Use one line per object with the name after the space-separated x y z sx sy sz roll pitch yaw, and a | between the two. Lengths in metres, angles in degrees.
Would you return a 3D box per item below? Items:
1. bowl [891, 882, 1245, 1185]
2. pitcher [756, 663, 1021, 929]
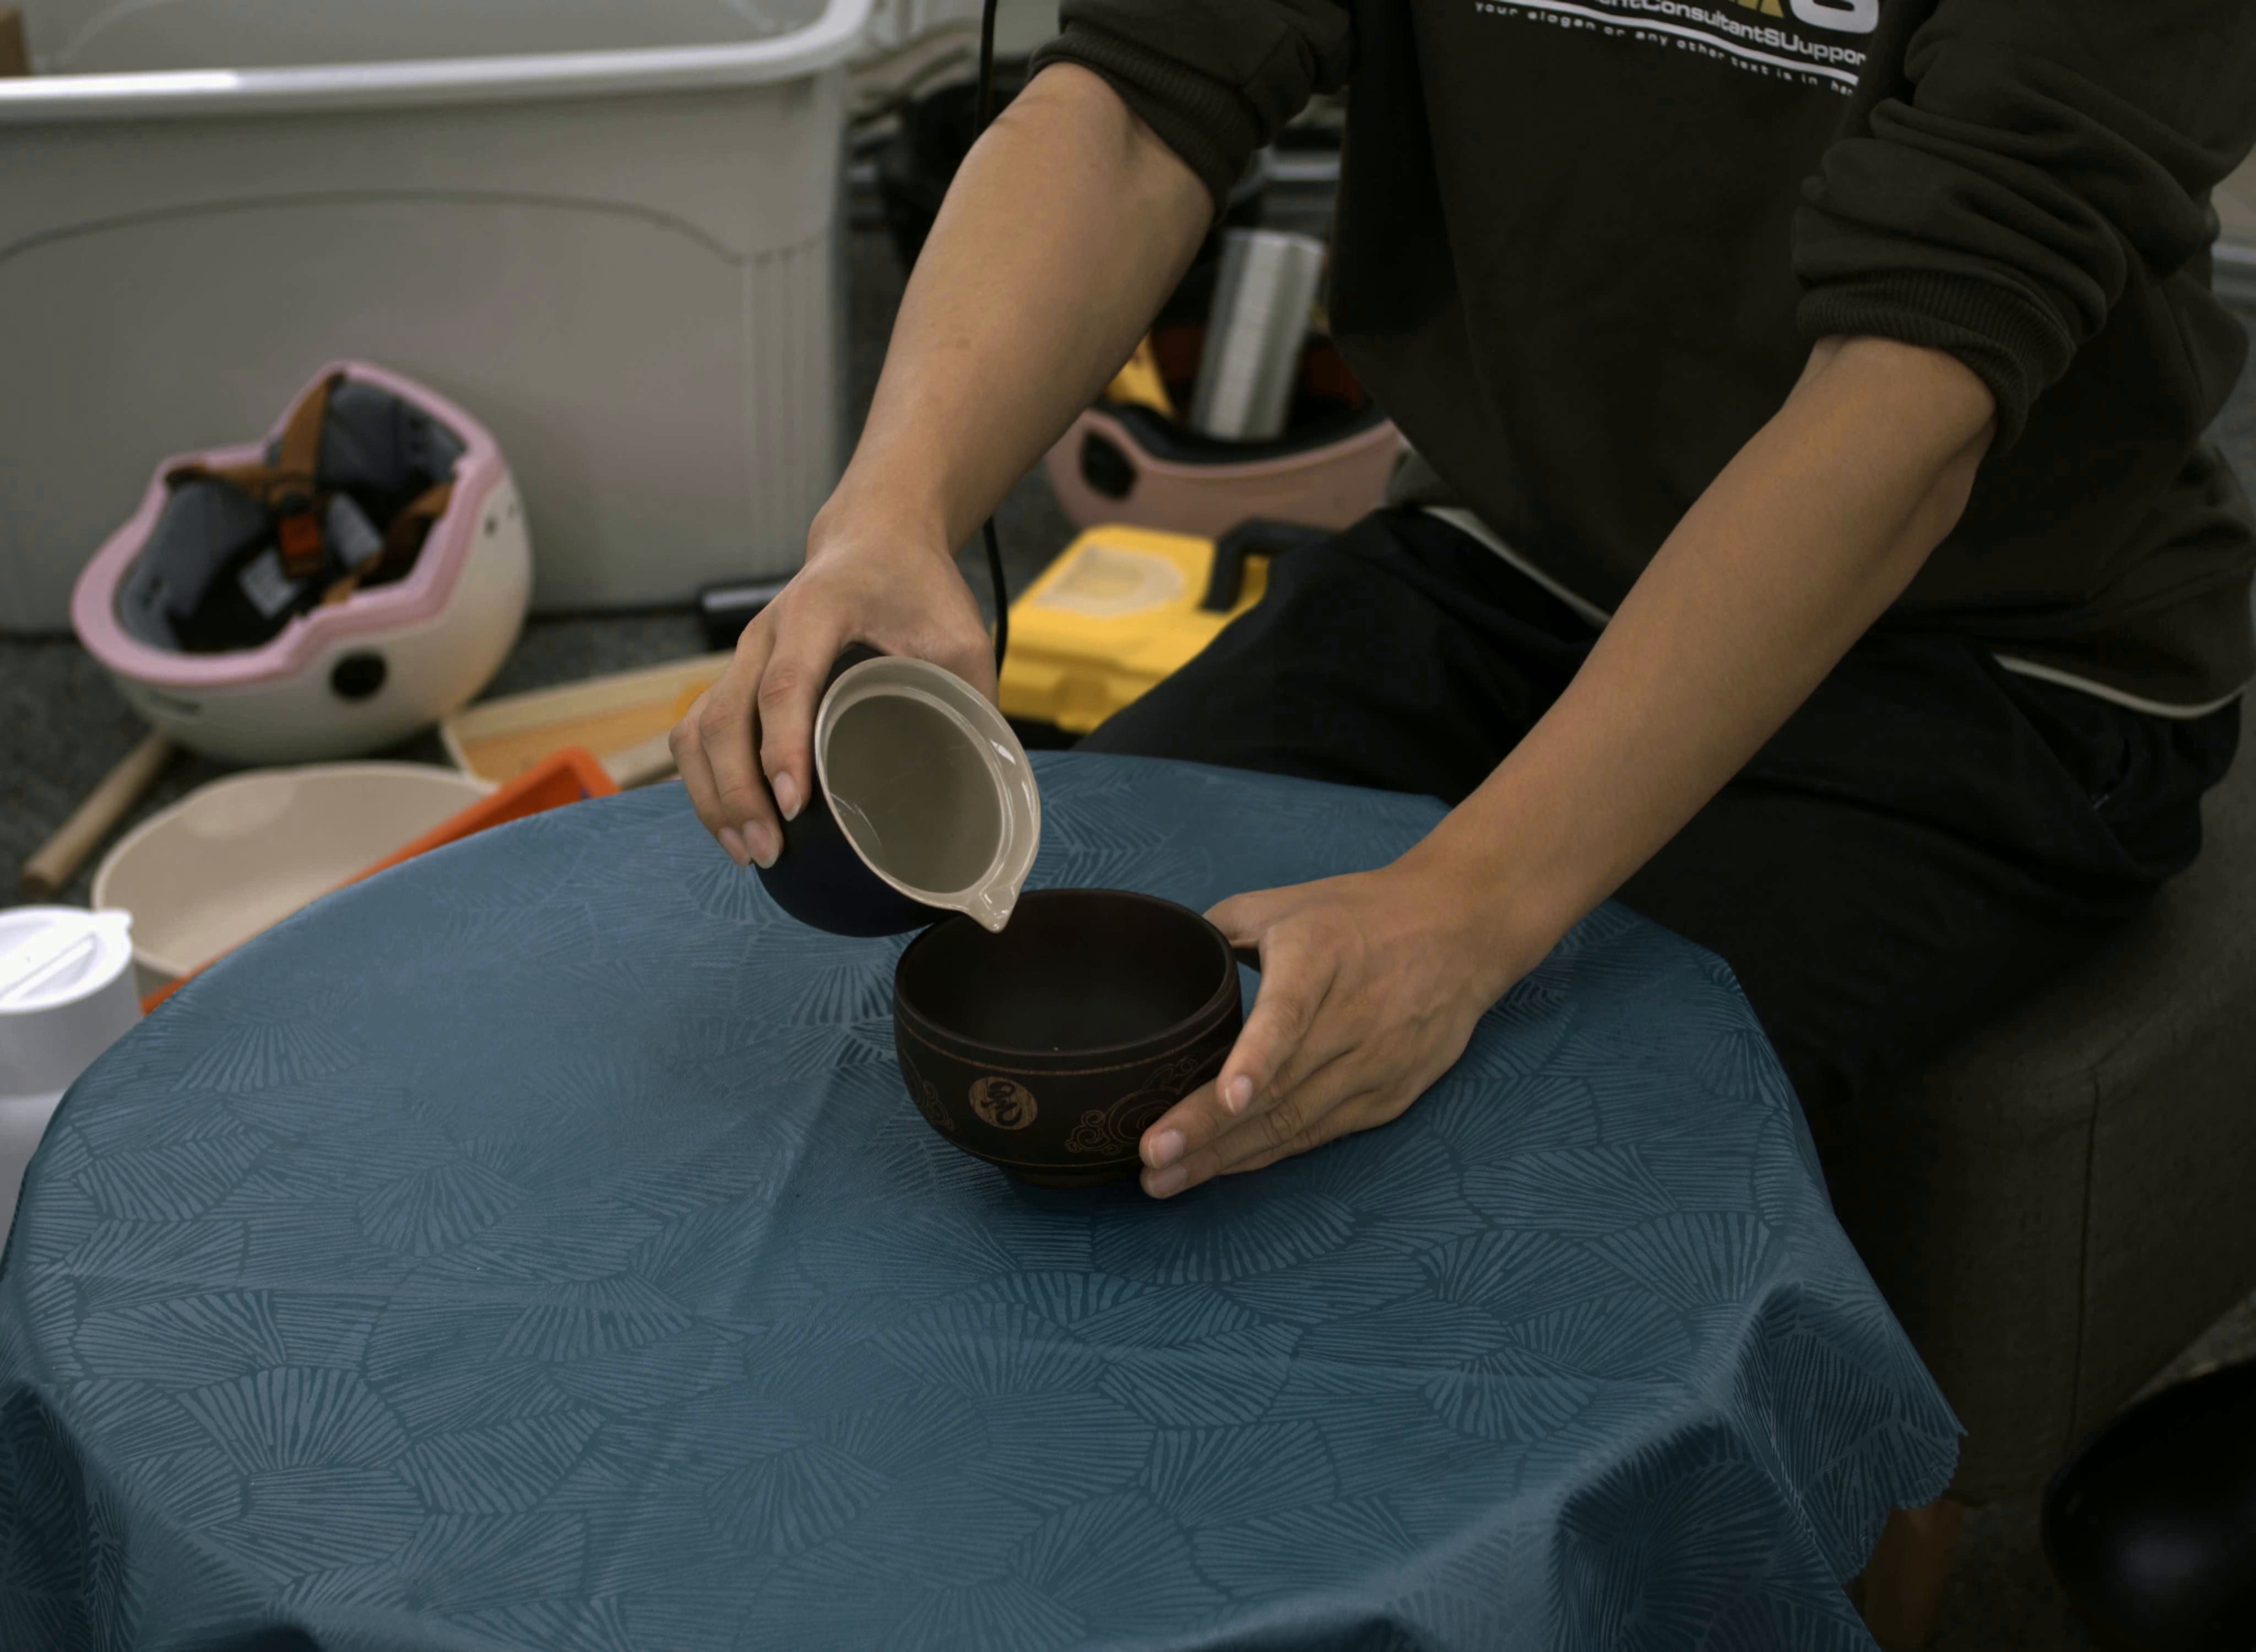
-0.018 0.076 1.879 0.117 0.069 0.120 -4 28 3 | bowl
-0.083 0.000 1.901 0.084 0.097 0.070 -12 -15 -47 | pitcher
